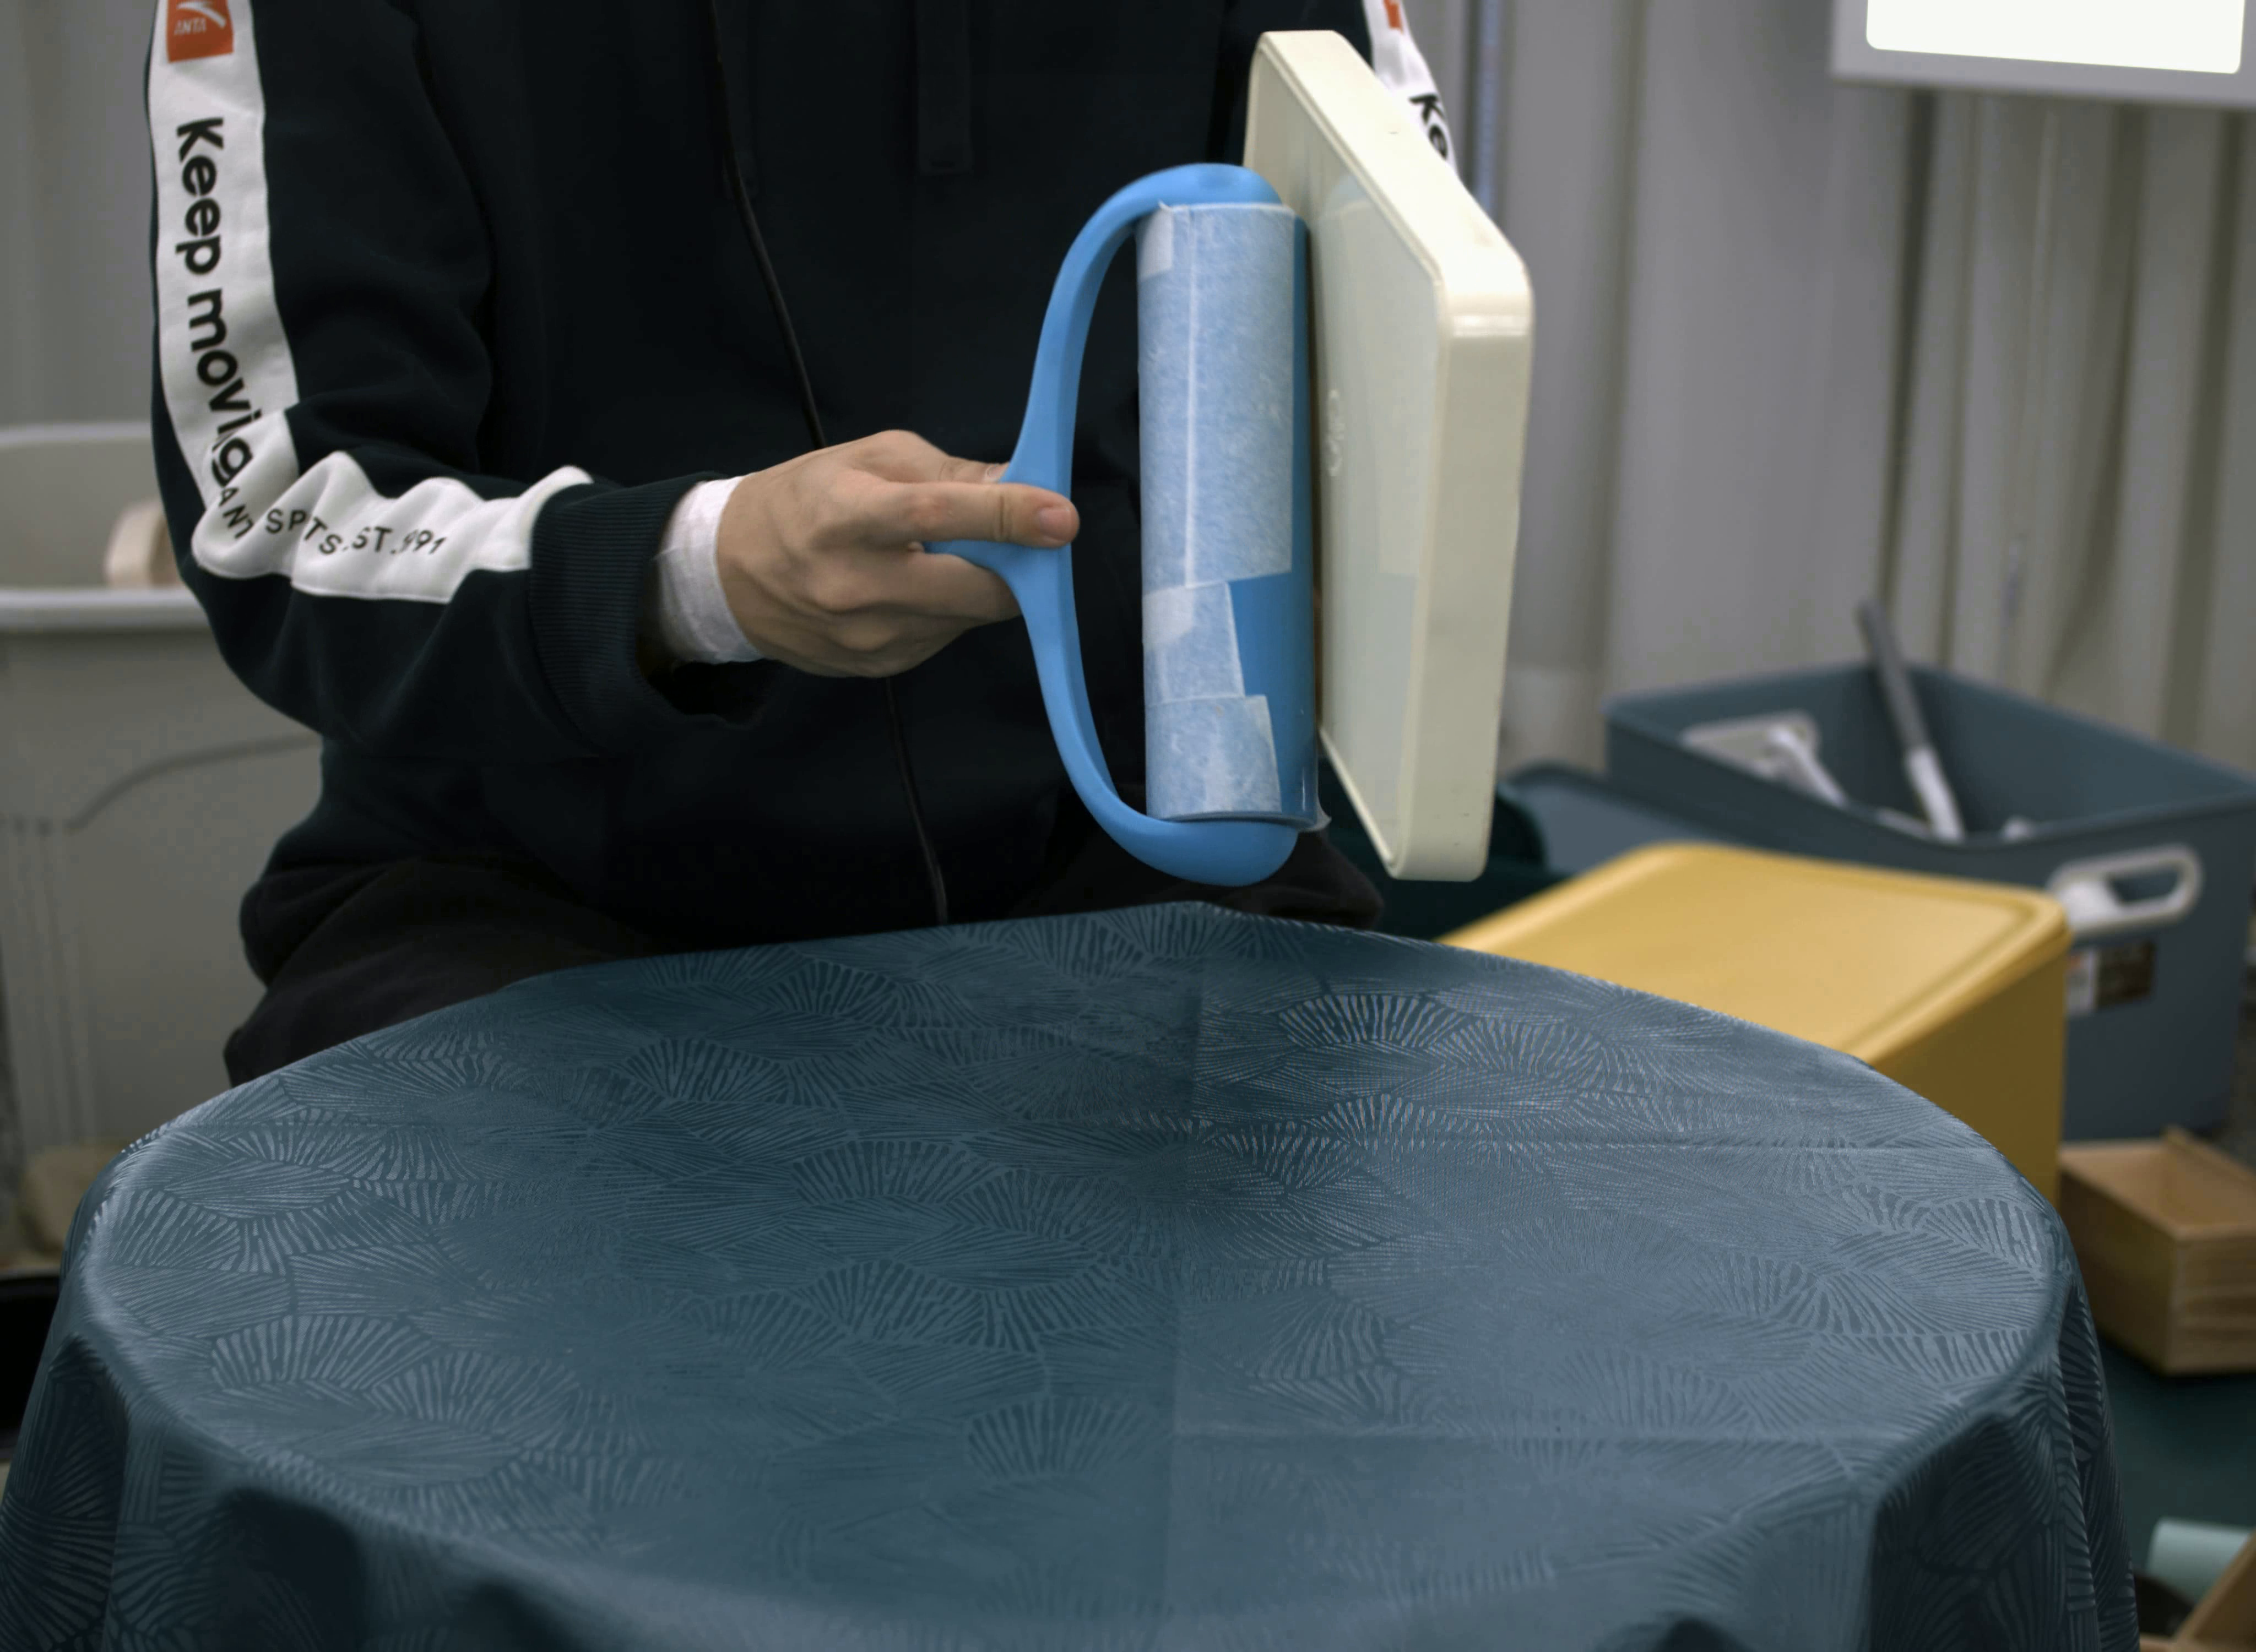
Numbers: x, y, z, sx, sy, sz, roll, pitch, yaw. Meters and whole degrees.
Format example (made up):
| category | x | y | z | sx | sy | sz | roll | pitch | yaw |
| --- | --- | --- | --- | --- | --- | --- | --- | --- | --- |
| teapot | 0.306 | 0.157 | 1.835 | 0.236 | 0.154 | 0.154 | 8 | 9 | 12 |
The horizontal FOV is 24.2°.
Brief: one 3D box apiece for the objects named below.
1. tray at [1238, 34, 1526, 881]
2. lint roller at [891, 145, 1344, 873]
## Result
| category | x | y | z | sx | sy | sz | roll | pitch | yaw |
| --- | --- | --- | --- | --- | --- | --- | --- | --- | --- |
| tray | 0.070 | -0.121 | 1.629 | 0.027 | 0.193 | 0.297 | -1 | 22 | -10 |
| lint roller | -0.016 | -0.090 | 1.666 | 0.178 | 0.229 | 0.068 | -10 | -8 | 31 |
